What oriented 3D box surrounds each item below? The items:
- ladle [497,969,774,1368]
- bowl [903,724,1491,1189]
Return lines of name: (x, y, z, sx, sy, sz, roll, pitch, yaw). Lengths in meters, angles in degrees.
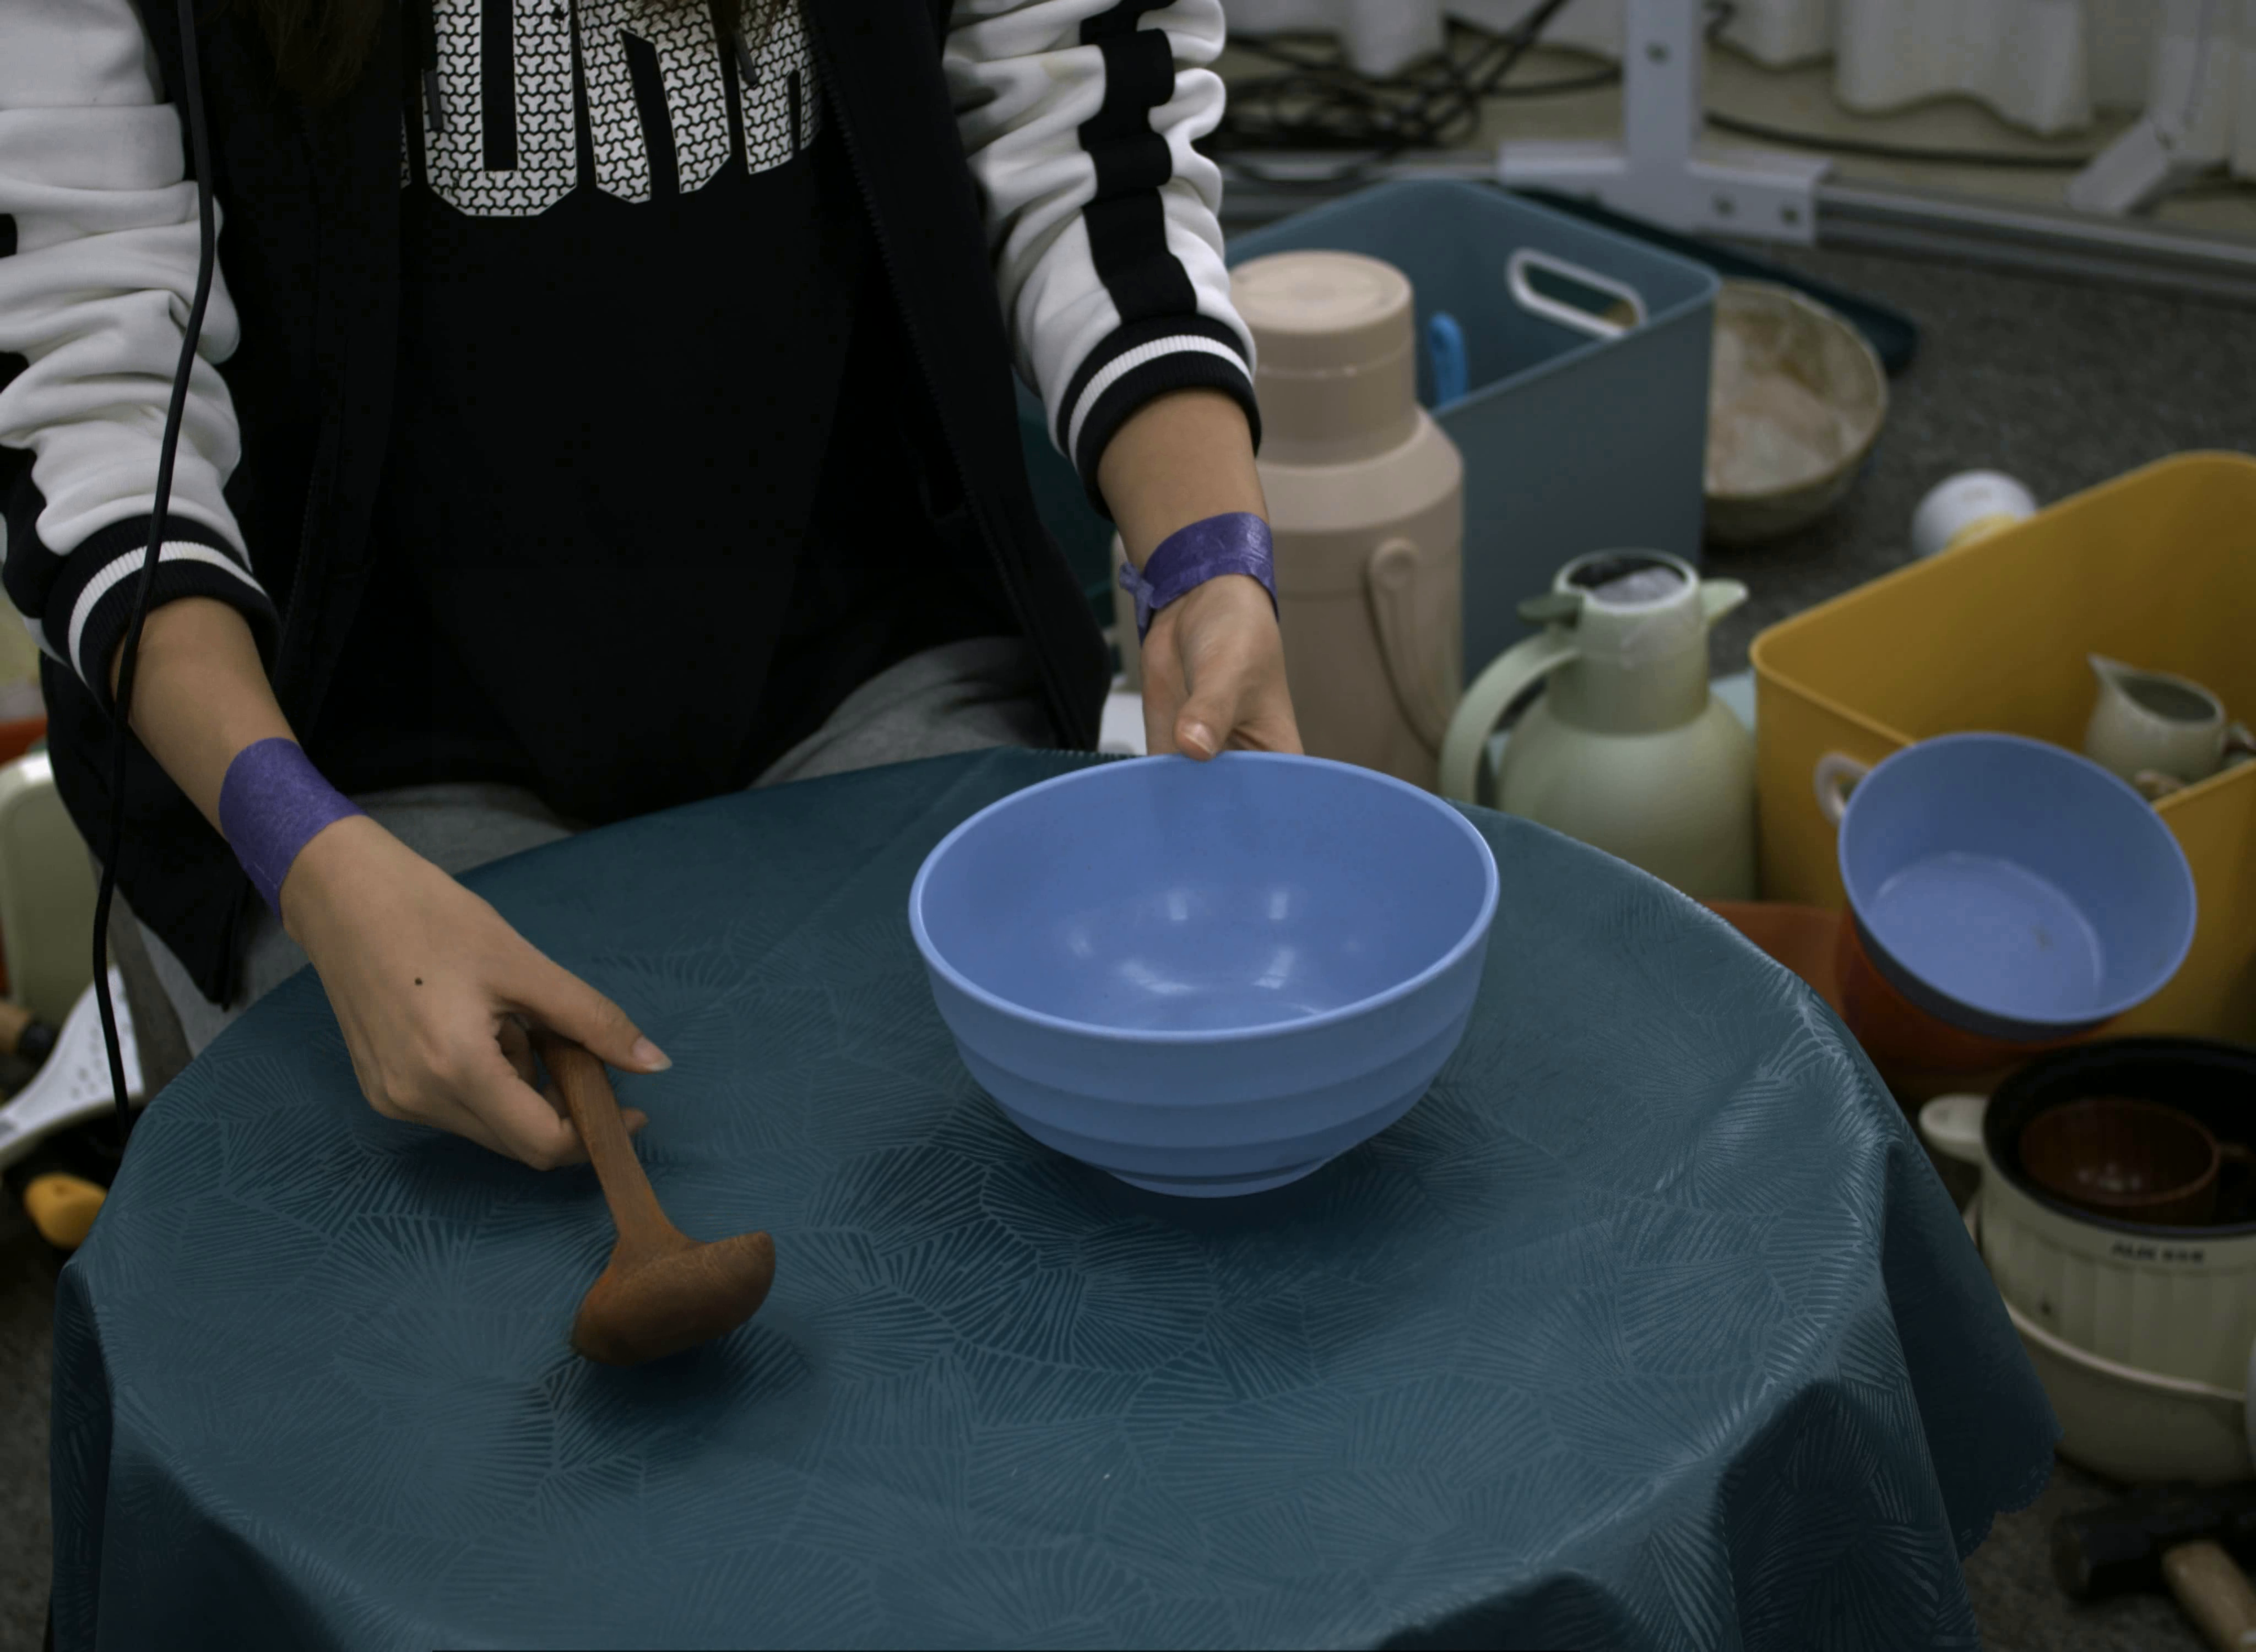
ladle: (-0.175, 0.098, 1.845, 0.076, 0.064, 0.263, -15, 33, -11)
bowl: (0.027, 0.057, 1.883, 0.195, 0.094, 0.200, -5, 32, 3)
